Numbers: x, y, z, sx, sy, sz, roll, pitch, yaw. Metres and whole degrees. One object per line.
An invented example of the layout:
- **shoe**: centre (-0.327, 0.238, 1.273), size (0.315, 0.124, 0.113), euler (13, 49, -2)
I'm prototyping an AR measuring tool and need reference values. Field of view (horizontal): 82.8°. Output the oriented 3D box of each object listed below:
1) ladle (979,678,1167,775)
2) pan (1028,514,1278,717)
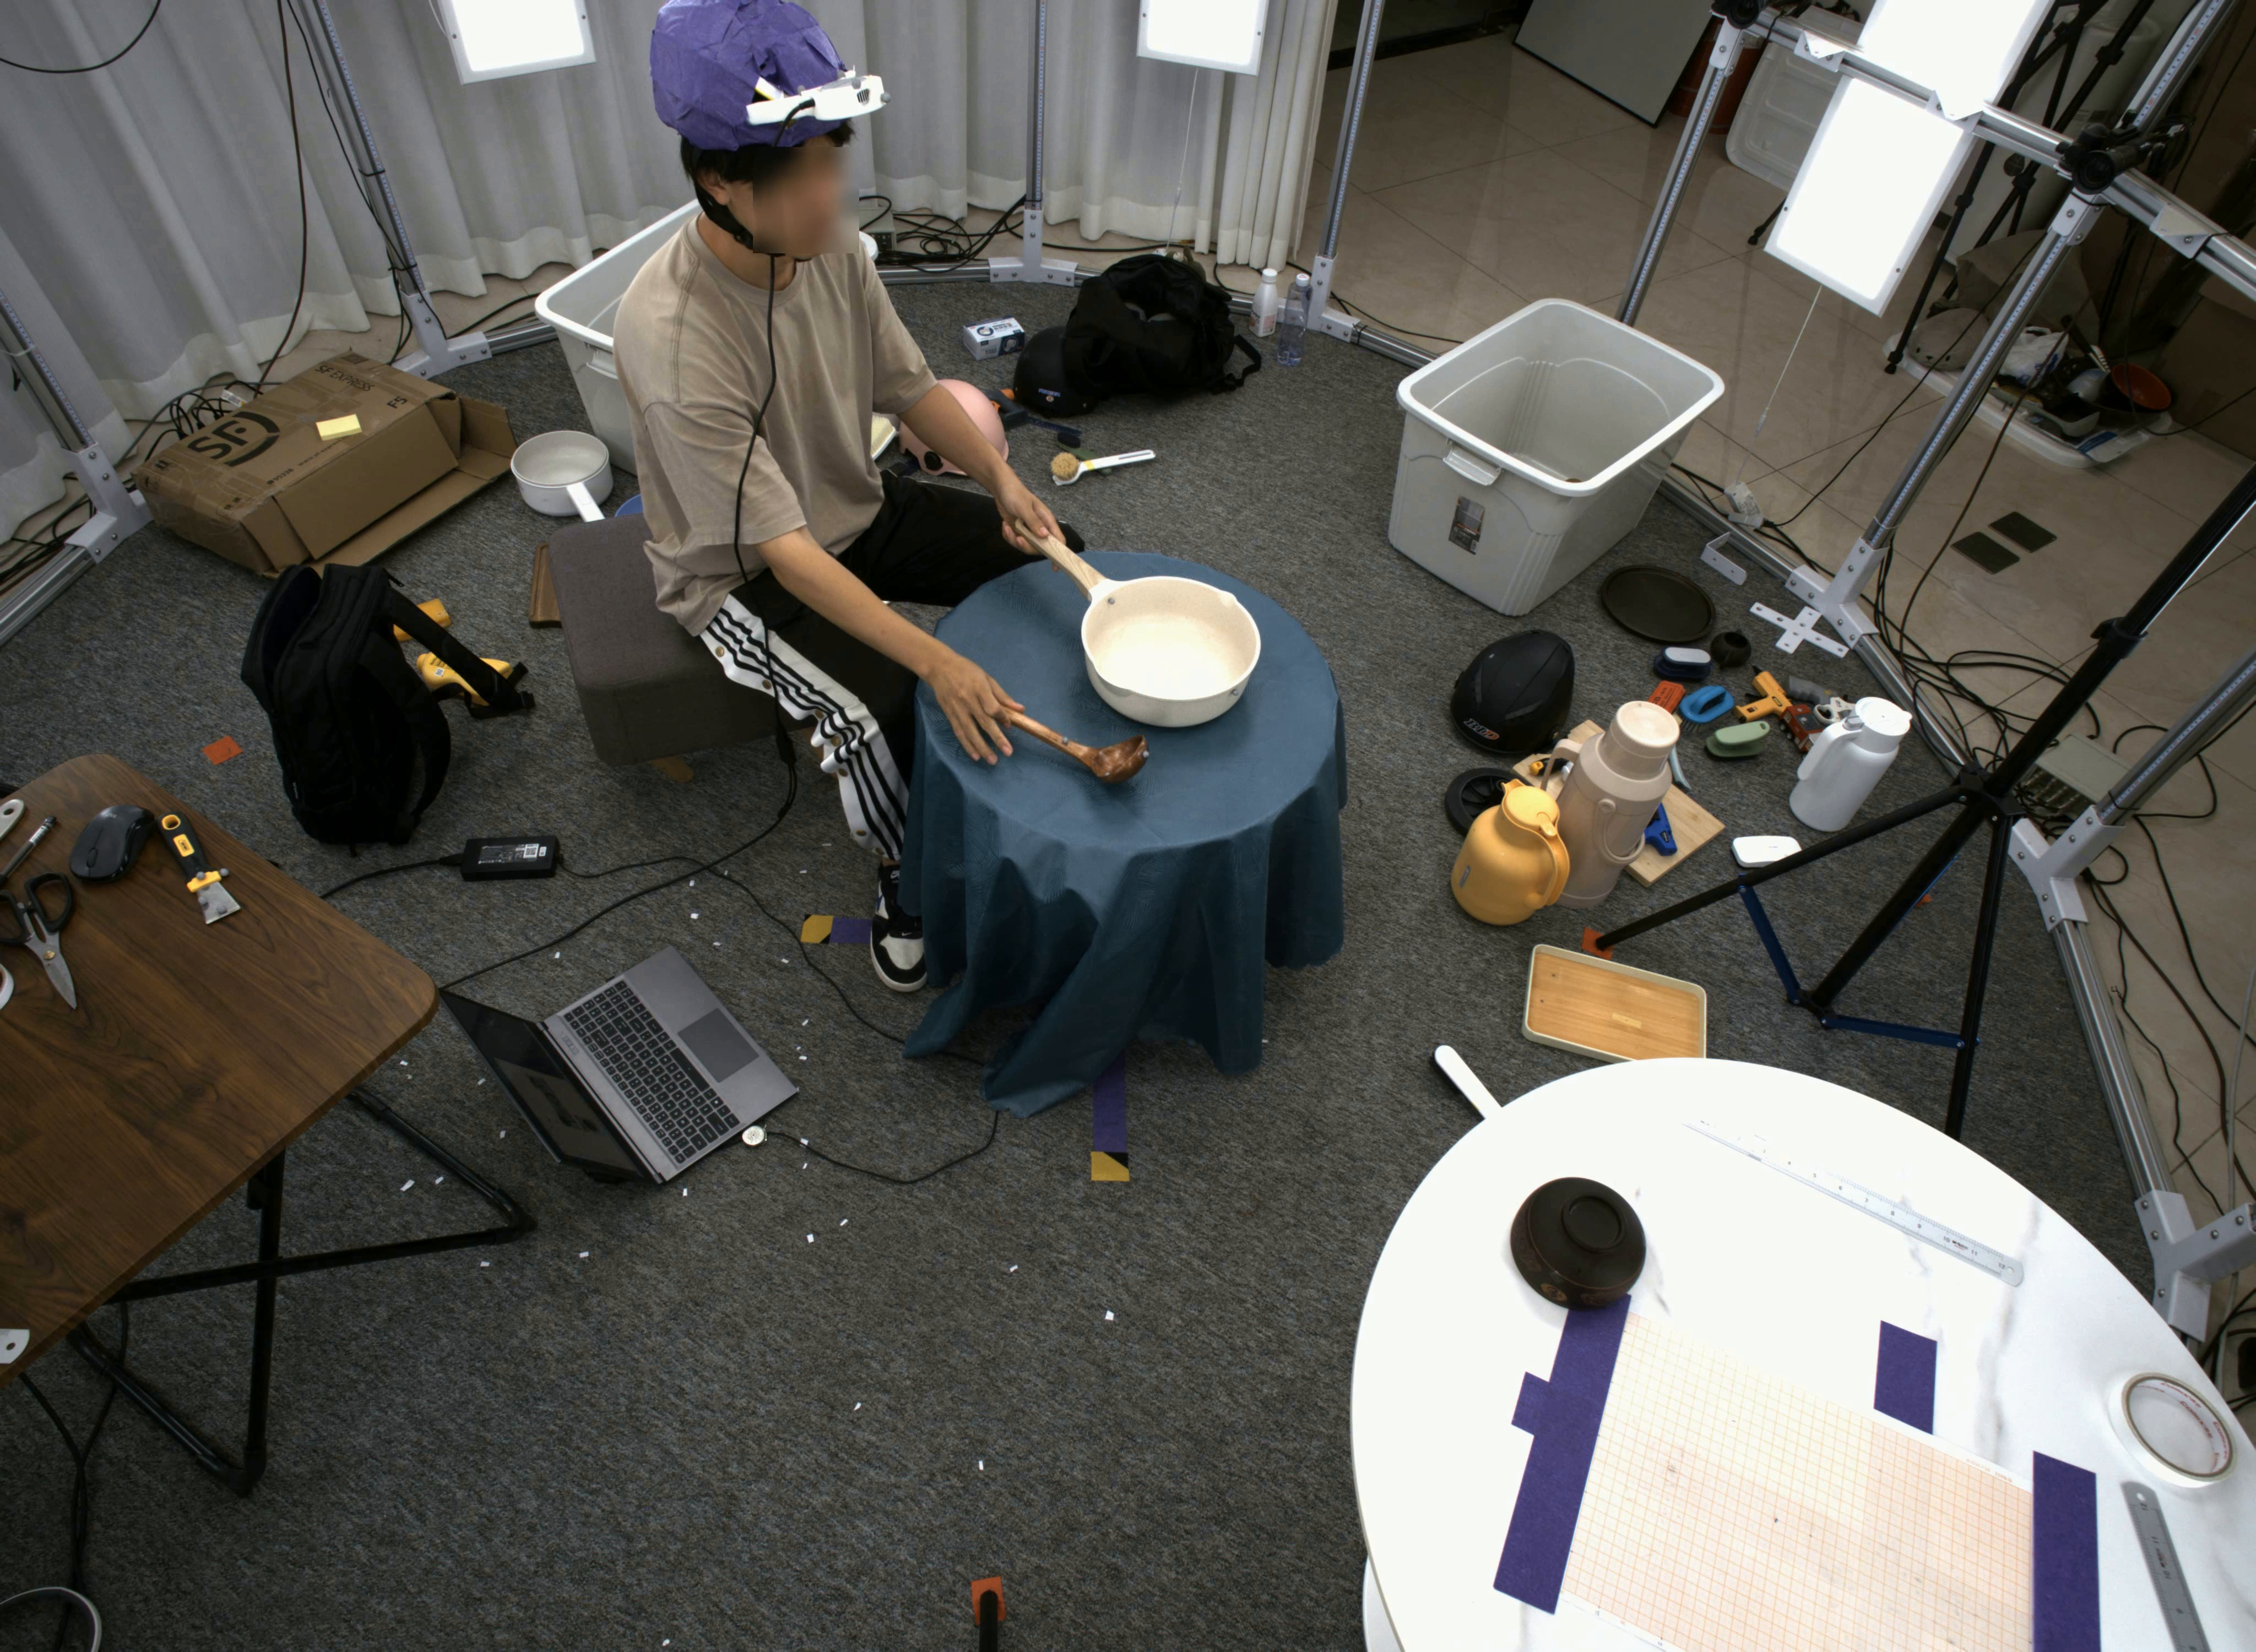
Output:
- **ladle**: centre (-0.077, -0.147, 1.695), size (0.276, 0.075, 0.083), euler (29, 48, 12)
- **pan**: centre (0.016, -0.311, 1.862), size (0.441, 0.099, 0.266), euler (37, 56, 25)
